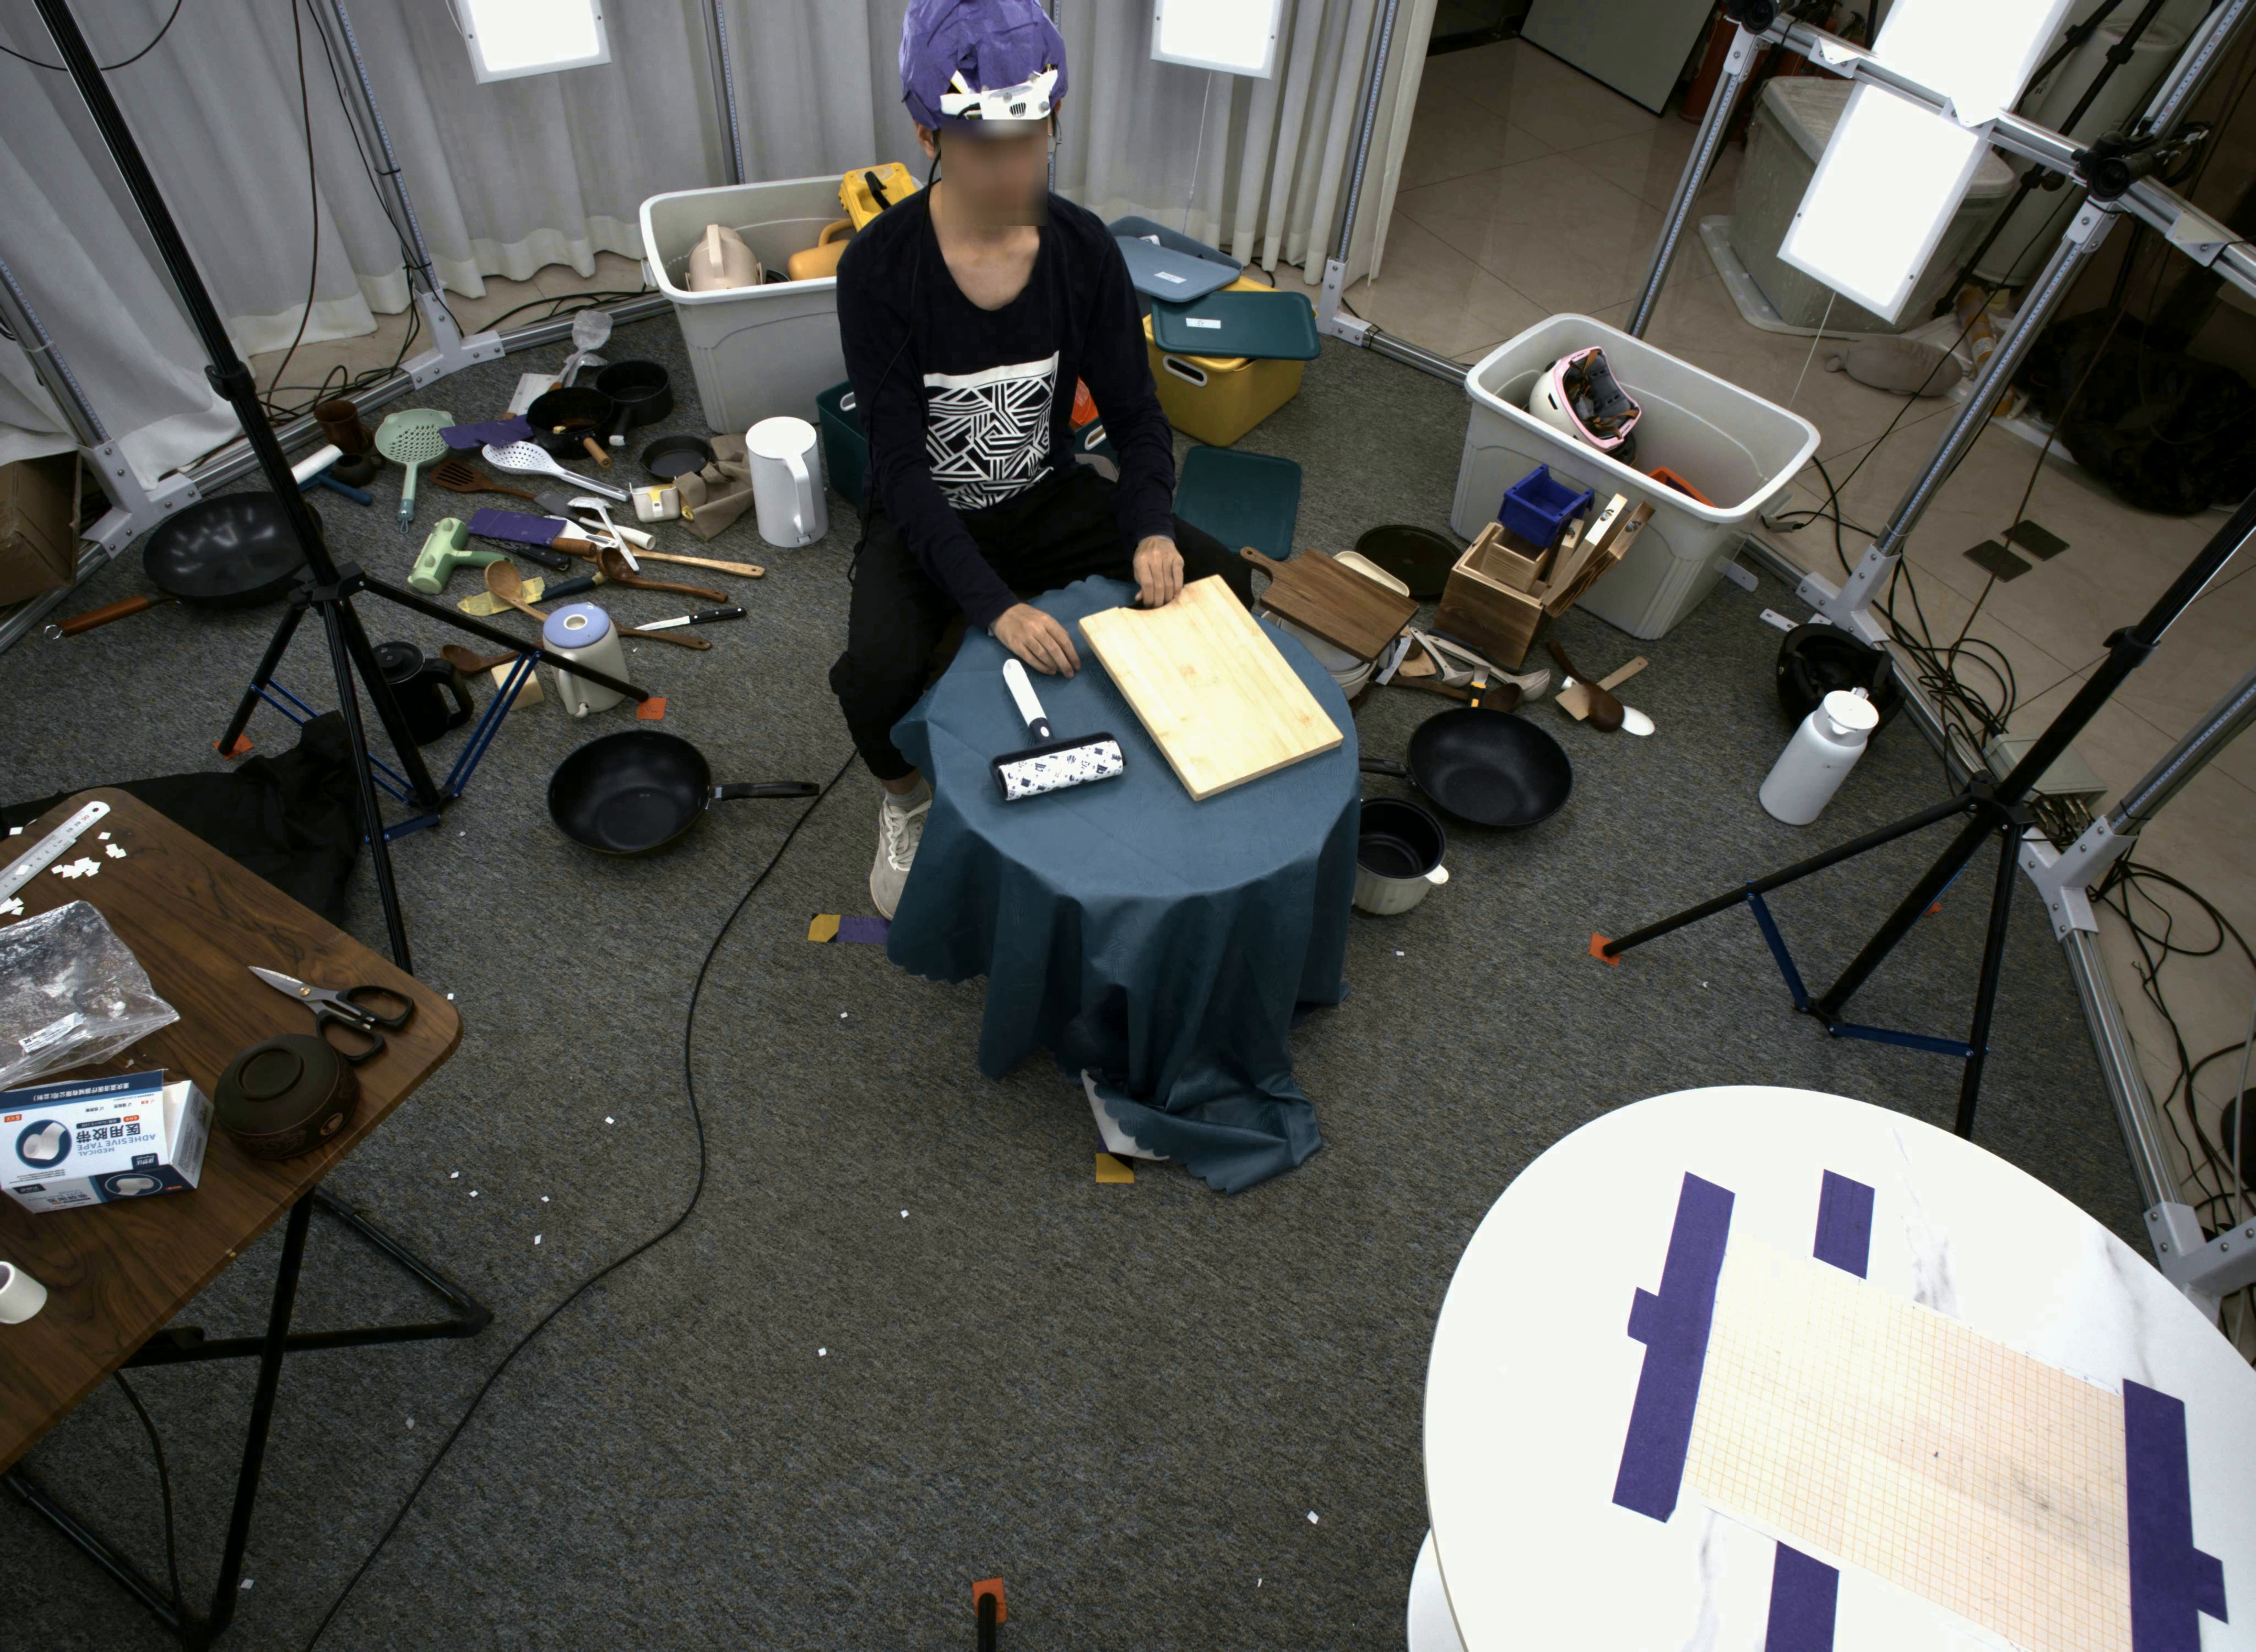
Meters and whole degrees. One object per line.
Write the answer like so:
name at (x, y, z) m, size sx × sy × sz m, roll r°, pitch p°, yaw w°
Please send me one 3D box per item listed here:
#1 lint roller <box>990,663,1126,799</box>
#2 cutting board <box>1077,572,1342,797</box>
lint roller at (-0.127, -0.147, 1.759) m, size 0.176 × 0.049 × 0.253 m, roll -15°, pitch 50°, yaw -15°
cutting board at (0.111, -0.208, 1.824) m, size 0.251 × 0.023 × 0.355 m, roll -21°, pitch 59°, yaw -21°
